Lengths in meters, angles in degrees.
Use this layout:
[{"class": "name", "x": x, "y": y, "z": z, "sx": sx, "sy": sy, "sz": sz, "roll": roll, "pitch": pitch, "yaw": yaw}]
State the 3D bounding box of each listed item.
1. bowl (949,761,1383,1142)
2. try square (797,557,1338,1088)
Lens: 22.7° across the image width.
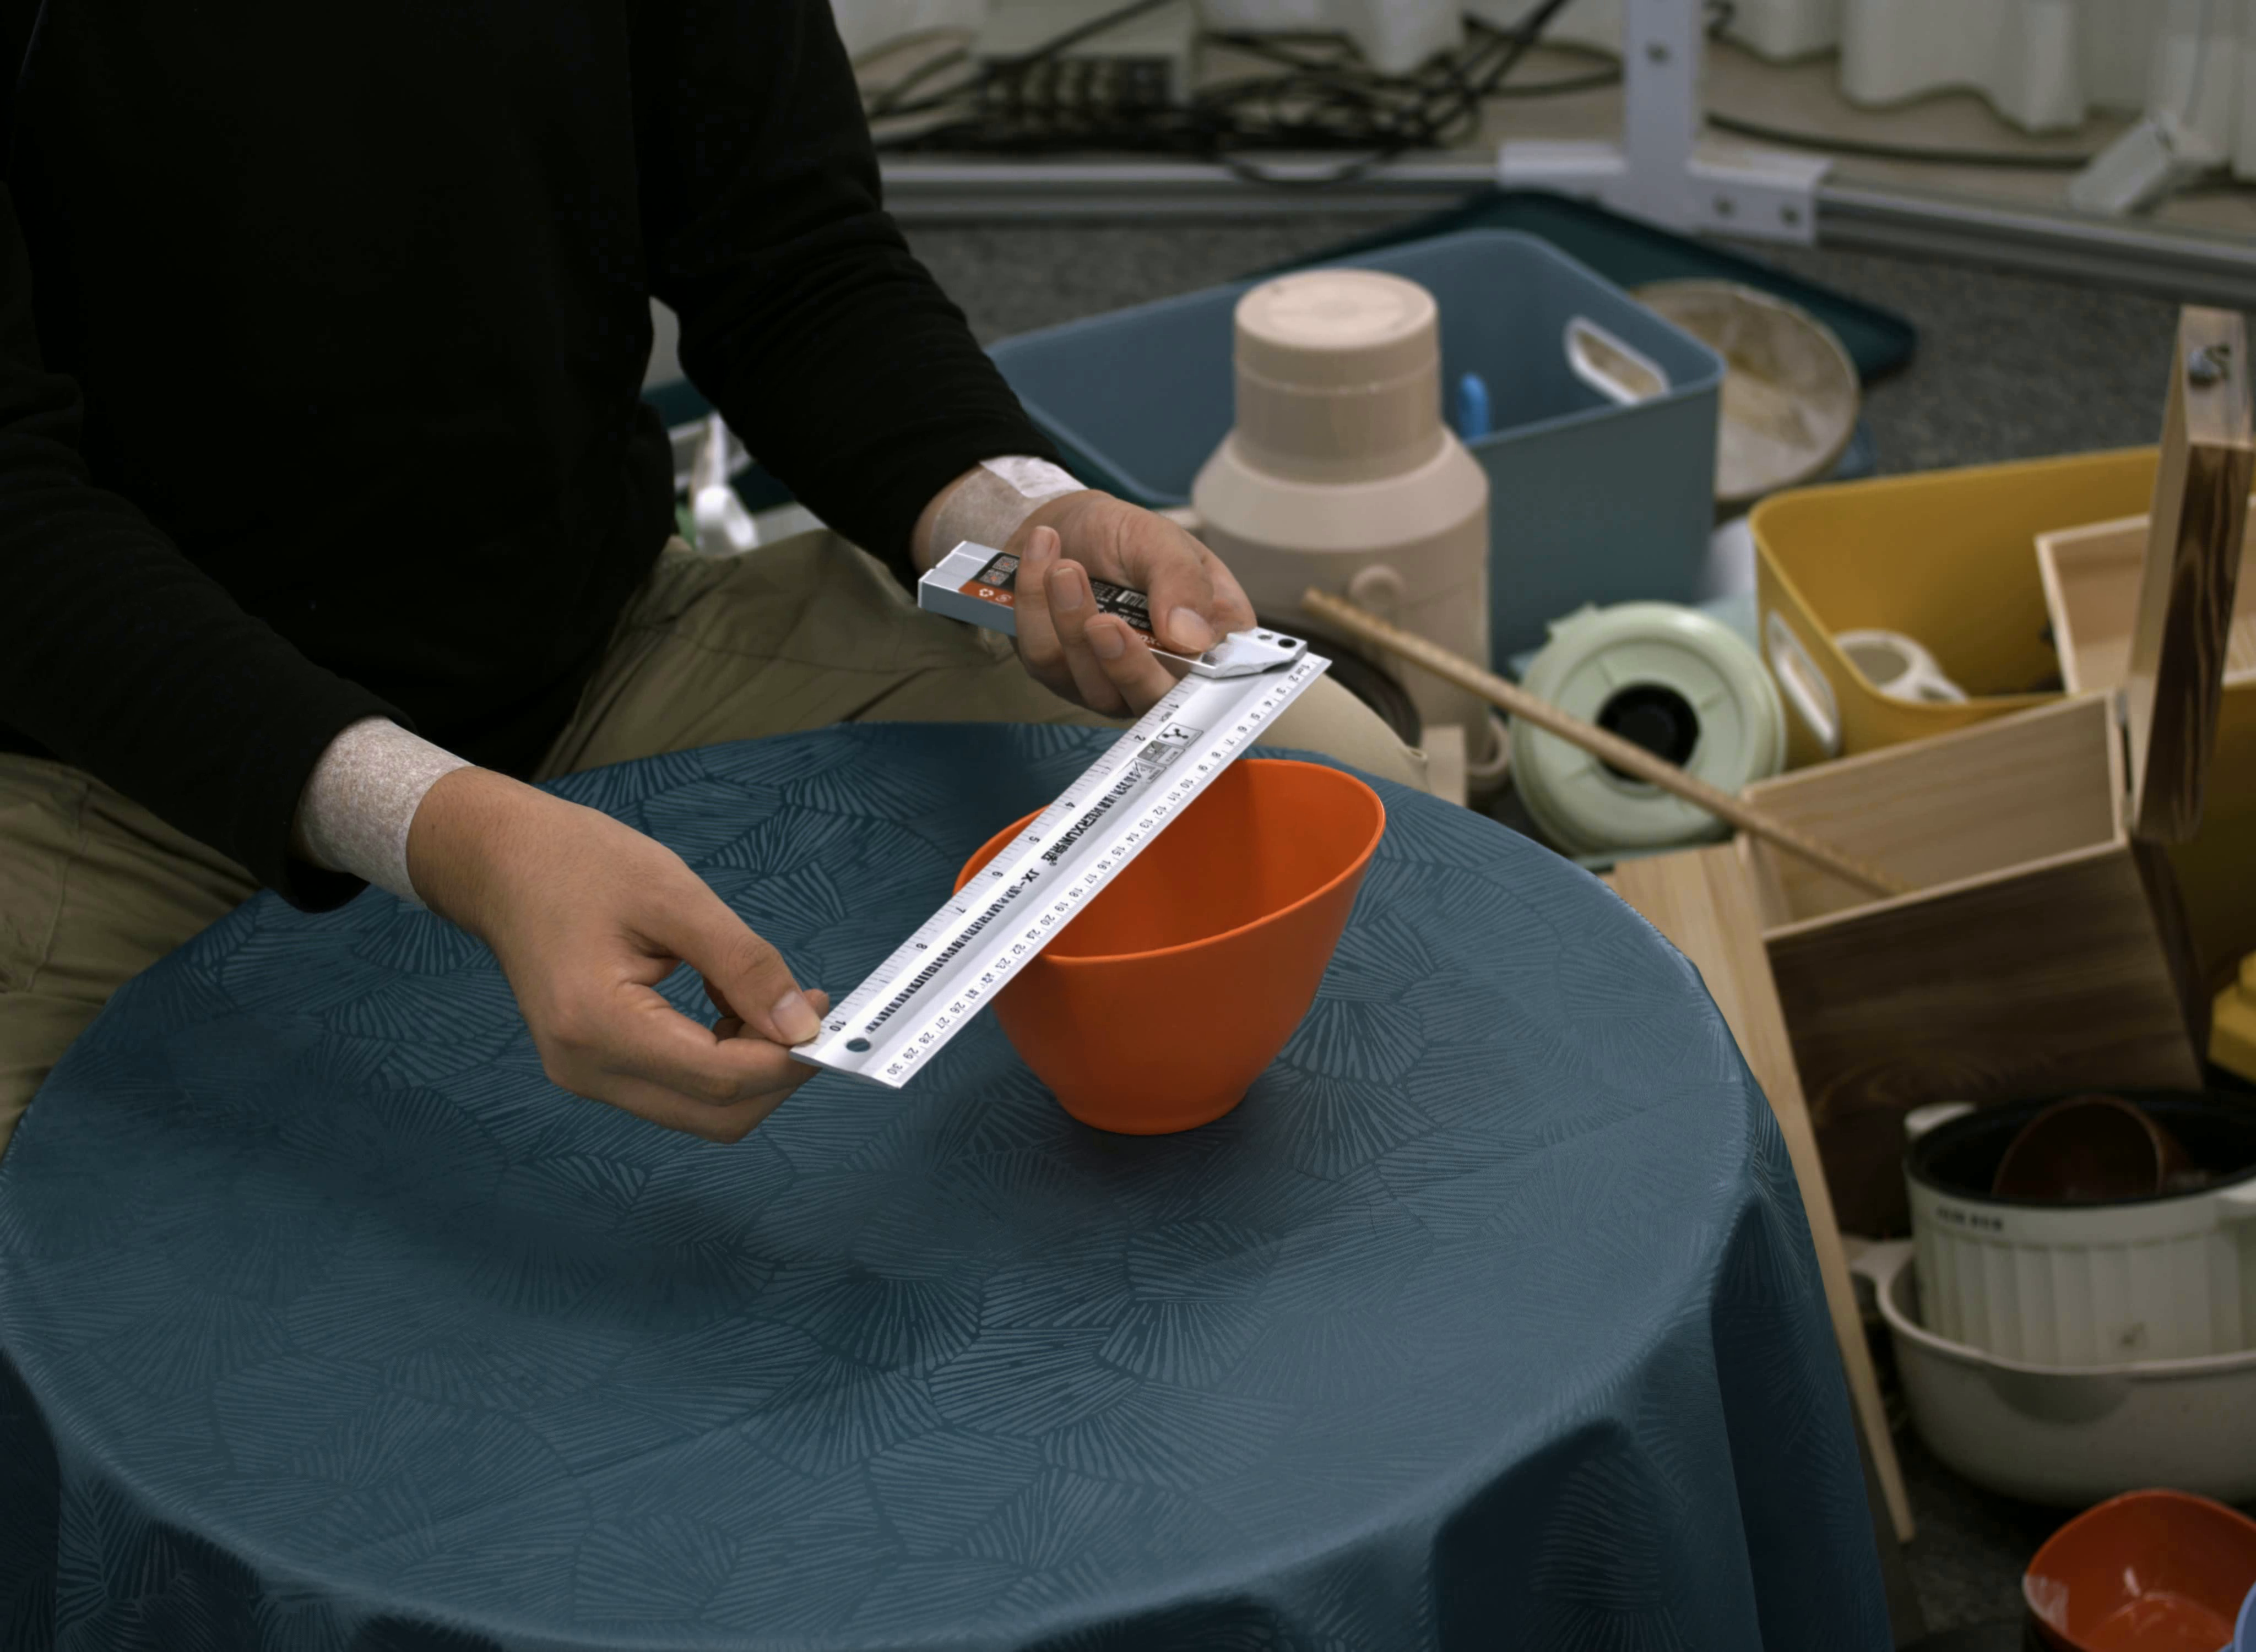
[{"class": "bowl", "x": 0.015, "y": 0.047, "z": 1.895, "sx": 0.147, "sy": 0.103, "sz": 0.150, "roll": -3, "pitch": 28, "yaw": 2}, {"class": "try square", "x": -0.063, "y": -0.007, "z": 1.902, "sx": 0.151, "sy": 0.015, "sz": 0.318, "roll": 15, "pitch": 33, "yaw": 24}]
